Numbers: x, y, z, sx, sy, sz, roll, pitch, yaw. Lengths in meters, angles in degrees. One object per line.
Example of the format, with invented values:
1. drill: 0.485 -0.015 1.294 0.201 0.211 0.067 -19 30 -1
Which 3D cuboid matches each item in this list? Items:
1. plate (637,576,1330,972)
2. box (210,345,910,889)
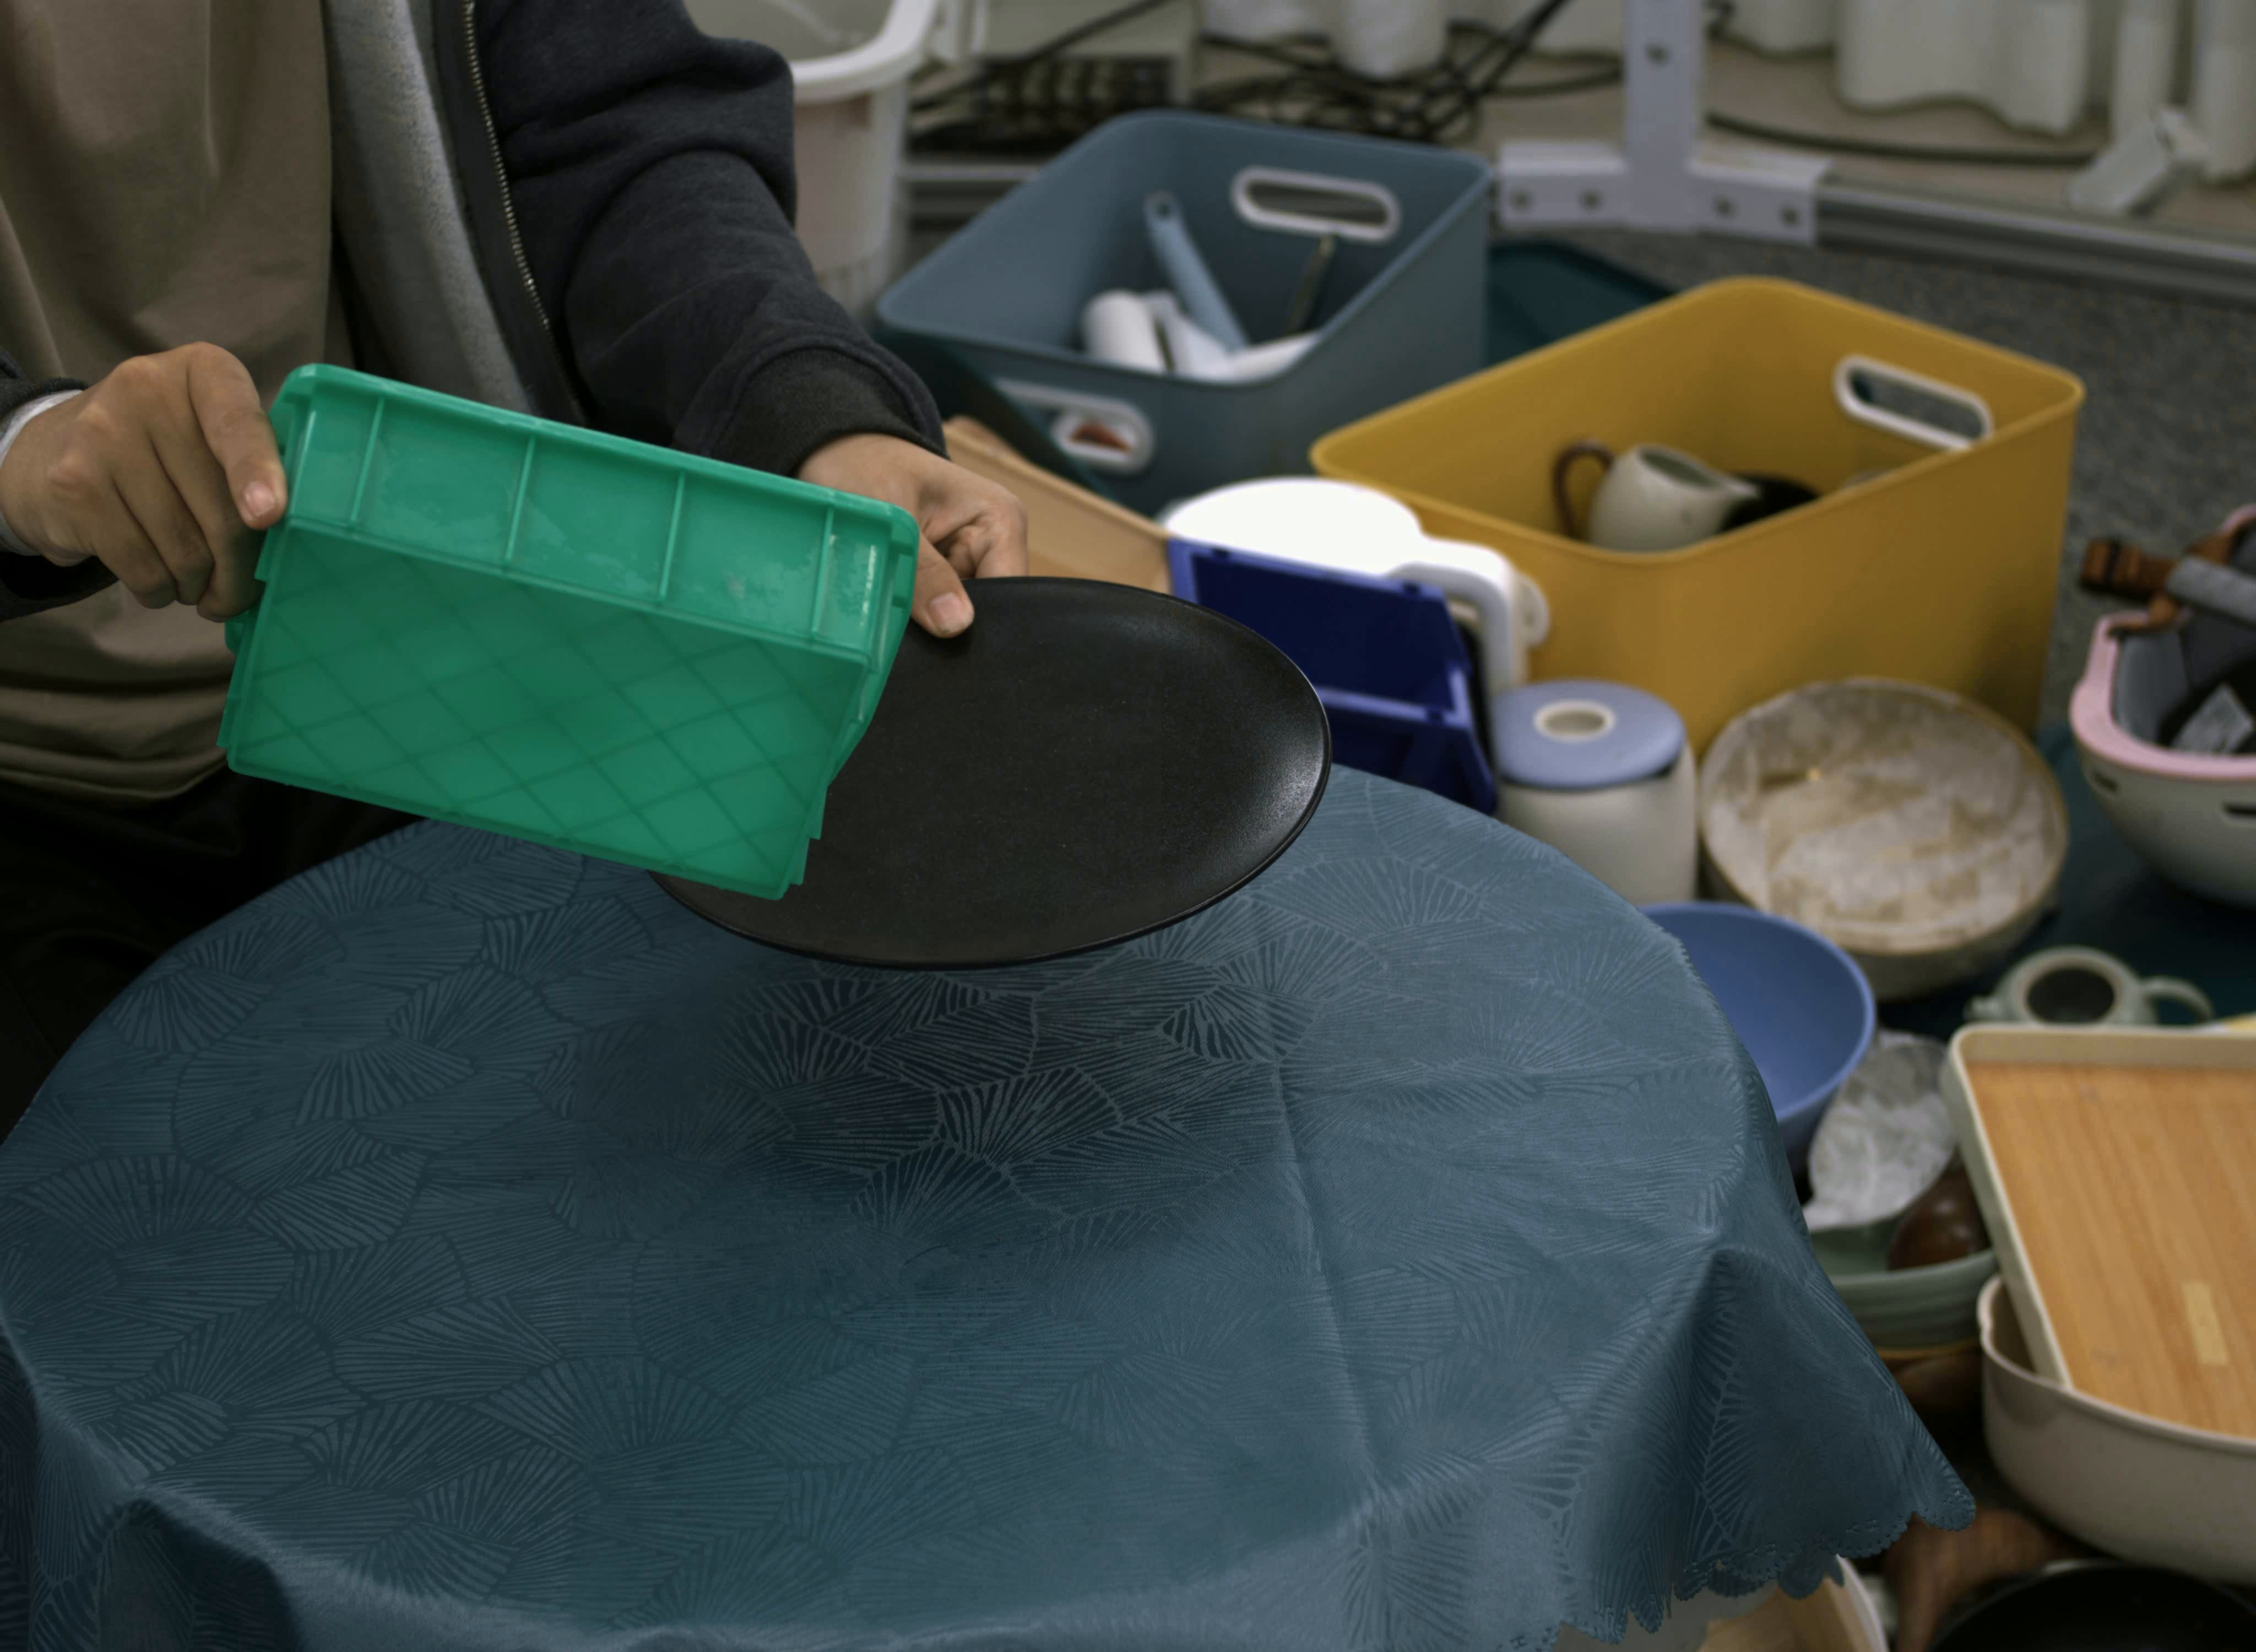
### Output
1. plate: -0.051 -0.014 1.924 0.243 0.023 0.248 -3 33 3
2. box: -0.180 -0.058 1.743 0.210 0.136 0.066 13 44 -11
